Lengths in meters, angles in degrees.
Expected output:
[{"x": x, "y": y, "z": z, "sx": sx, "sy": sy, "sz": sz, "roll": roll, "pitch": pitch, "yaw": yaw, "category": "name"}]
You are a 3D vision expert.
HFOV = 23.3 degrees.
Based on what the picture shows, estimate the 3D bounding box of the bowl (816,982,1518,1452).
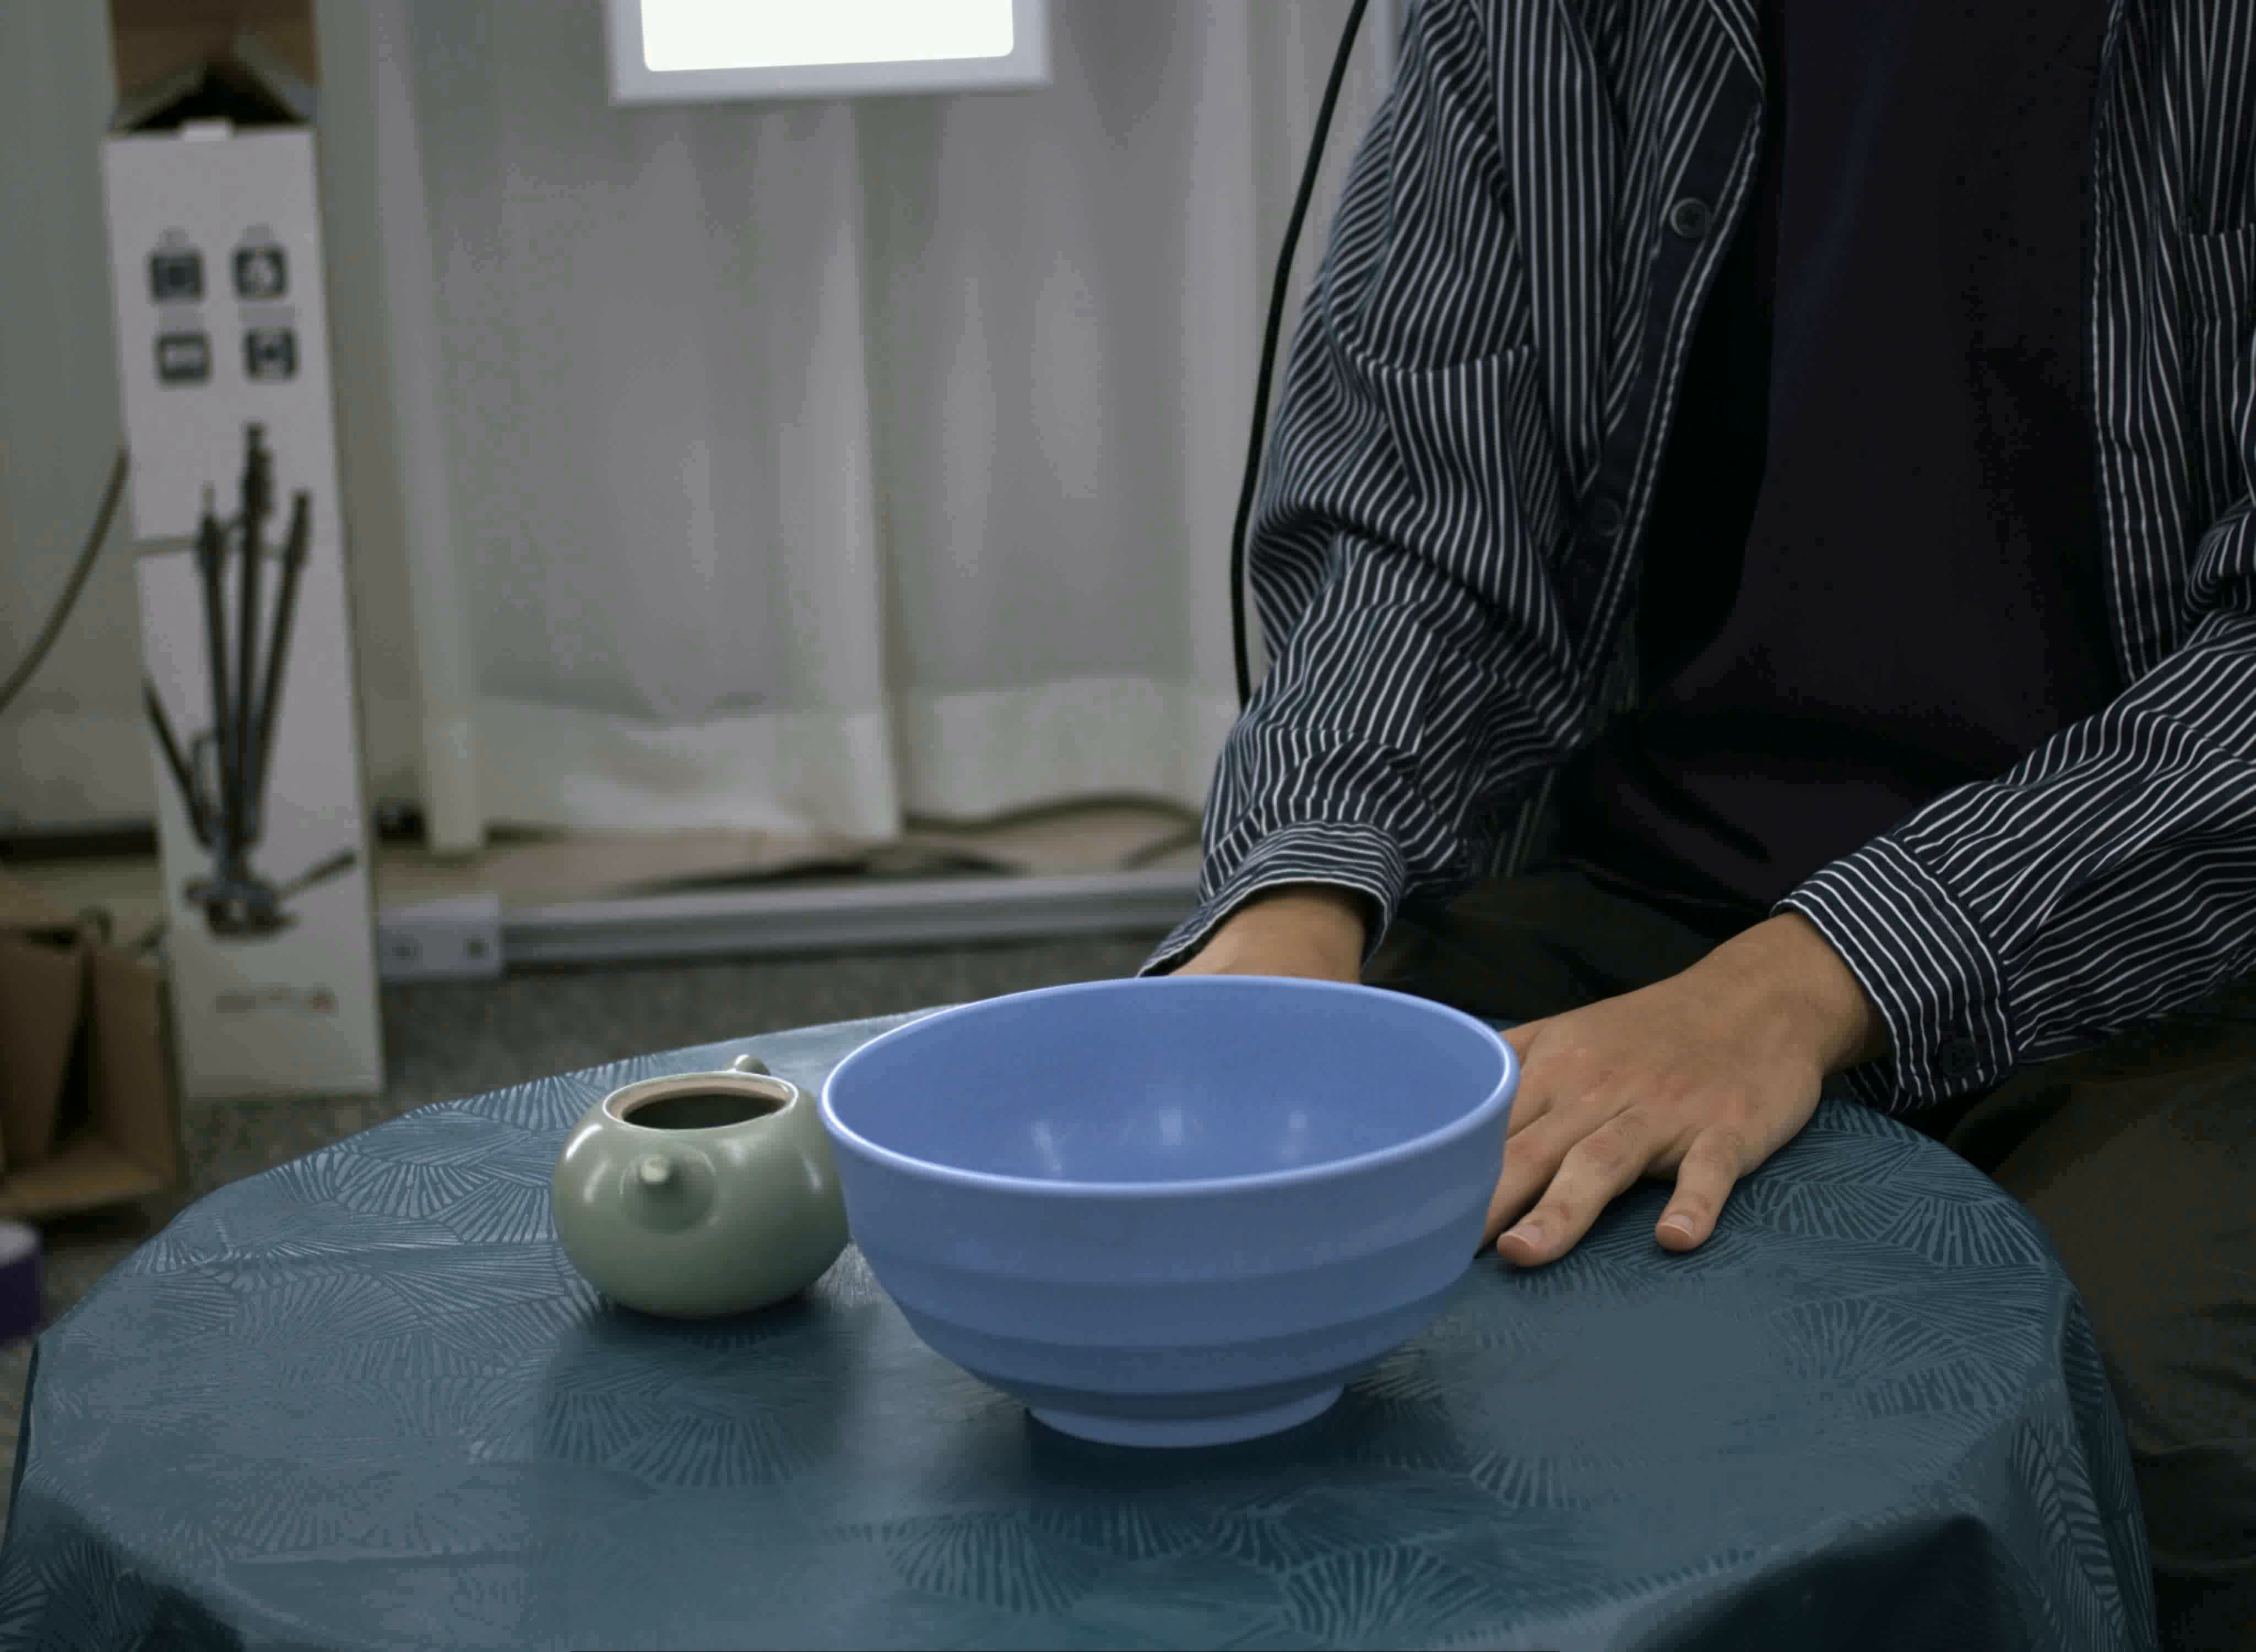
[{"x": 0.014, "y": 0.115, "z": 1.533, "sx": 0.196, "sy": 0.095, "sz": 0.198, "roll": -4, "pitch": 14, "yaw": 1, "category": "bowl"}]

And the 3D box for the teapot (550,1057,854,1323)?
[{"x": -0.125, "y": 0.109, "z": 1.649, "sx": 0.091, "sy": 0.061, "sz": 0.129, "roll": -1, "pitch": 14, "yaw": 16, "category": "teapot"}]
